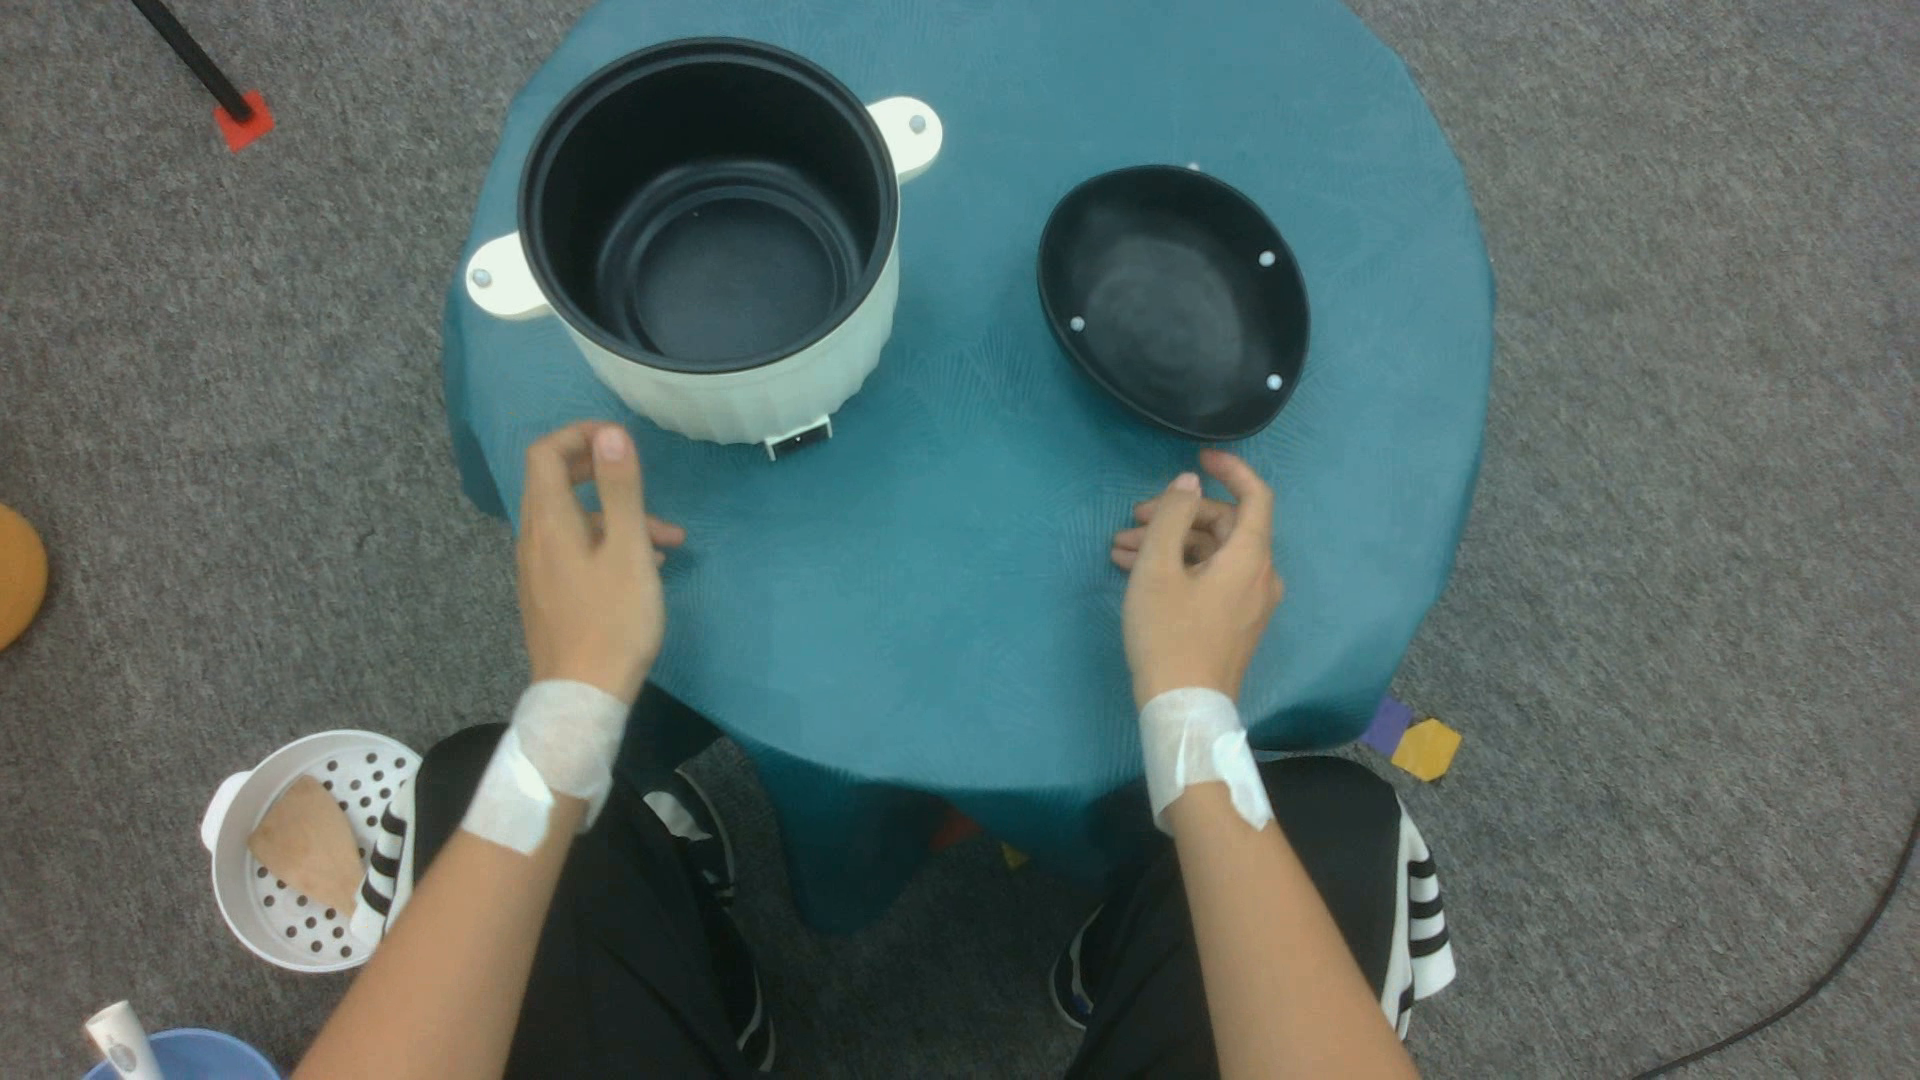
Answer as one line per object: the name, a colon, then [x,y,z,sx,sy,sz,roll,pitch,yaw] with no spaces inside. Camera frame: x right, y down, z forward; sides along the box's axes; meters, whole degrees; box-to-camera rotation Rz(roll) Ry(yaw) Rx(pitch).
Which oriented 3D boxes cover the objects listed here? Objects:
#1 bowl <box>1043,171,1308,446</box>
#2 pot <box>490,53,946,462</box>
bowl: [0.119,-0.125,0.779,0.137,0.066,0.170,-33,77,-9]
pot: [-0.122,-0.148,0.741,0.241,0.142,0.191,-23,78,-9]
